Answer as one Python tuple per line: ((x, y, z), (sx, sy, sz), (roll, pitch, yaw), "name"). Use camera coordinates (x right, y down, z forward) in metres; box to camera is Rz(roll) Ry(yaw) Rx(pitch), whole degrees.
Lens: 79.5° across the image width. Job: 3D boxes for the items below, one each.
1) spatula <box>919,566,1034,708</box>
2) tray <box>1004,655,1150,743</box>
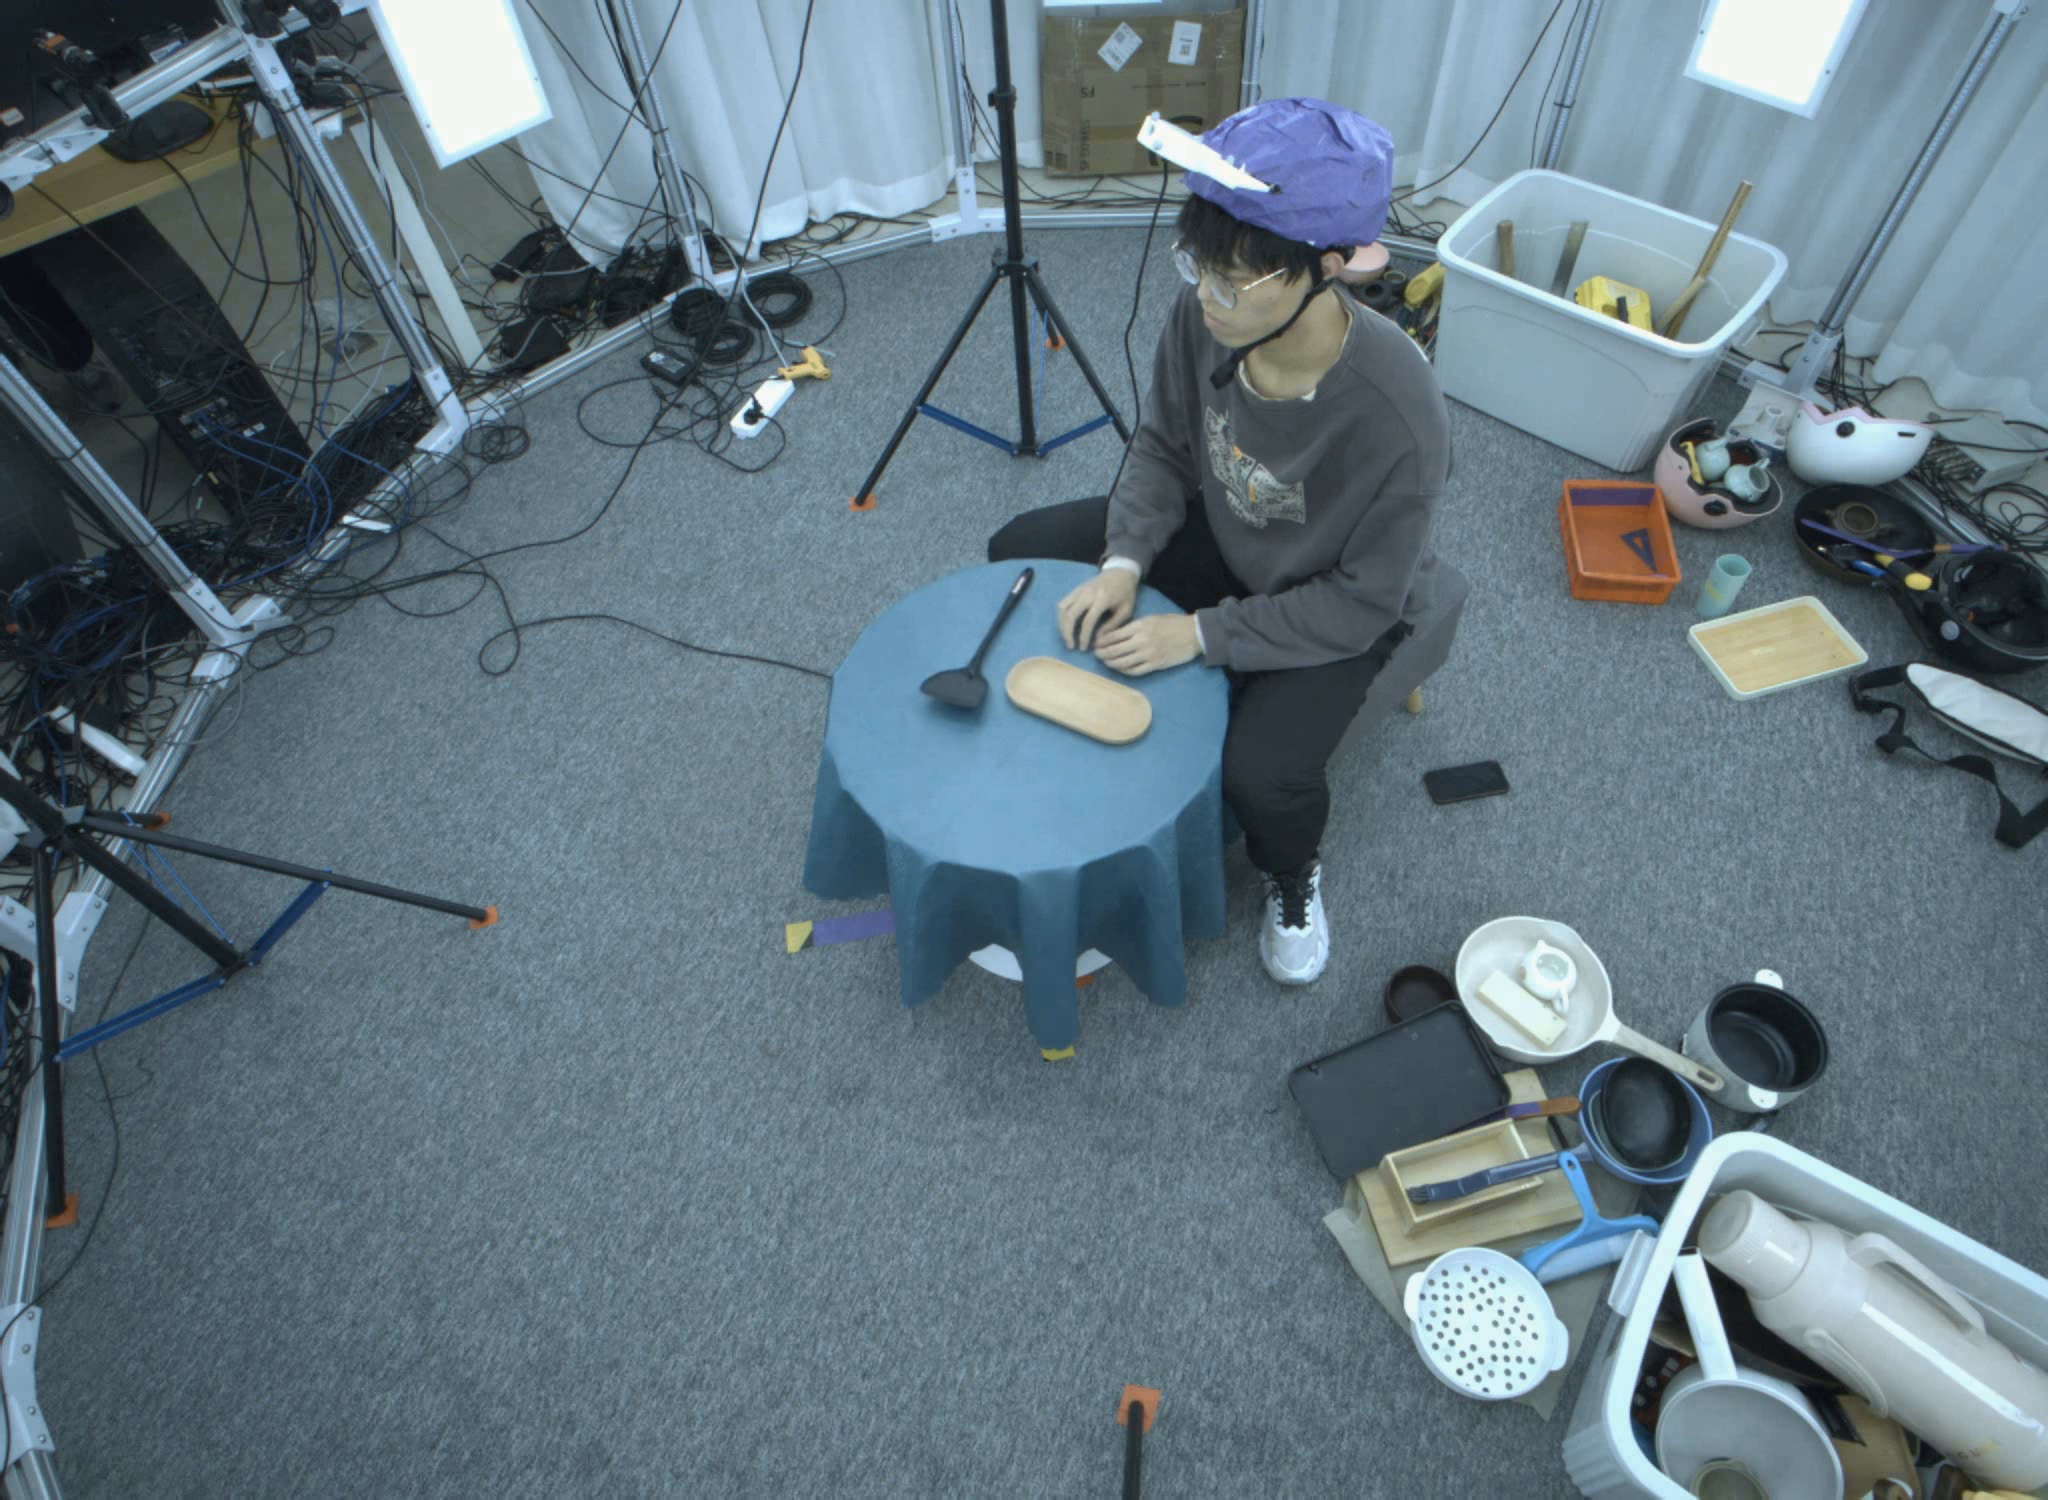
((-0.053, -0.183, 1.896), (0.099, 0.041, 0.326), (18, 57, 13), "spatula")
((0.078, -0.075, 1.827), (0.228, 0.020, 0.102), (22, 57, 18), "tray")
